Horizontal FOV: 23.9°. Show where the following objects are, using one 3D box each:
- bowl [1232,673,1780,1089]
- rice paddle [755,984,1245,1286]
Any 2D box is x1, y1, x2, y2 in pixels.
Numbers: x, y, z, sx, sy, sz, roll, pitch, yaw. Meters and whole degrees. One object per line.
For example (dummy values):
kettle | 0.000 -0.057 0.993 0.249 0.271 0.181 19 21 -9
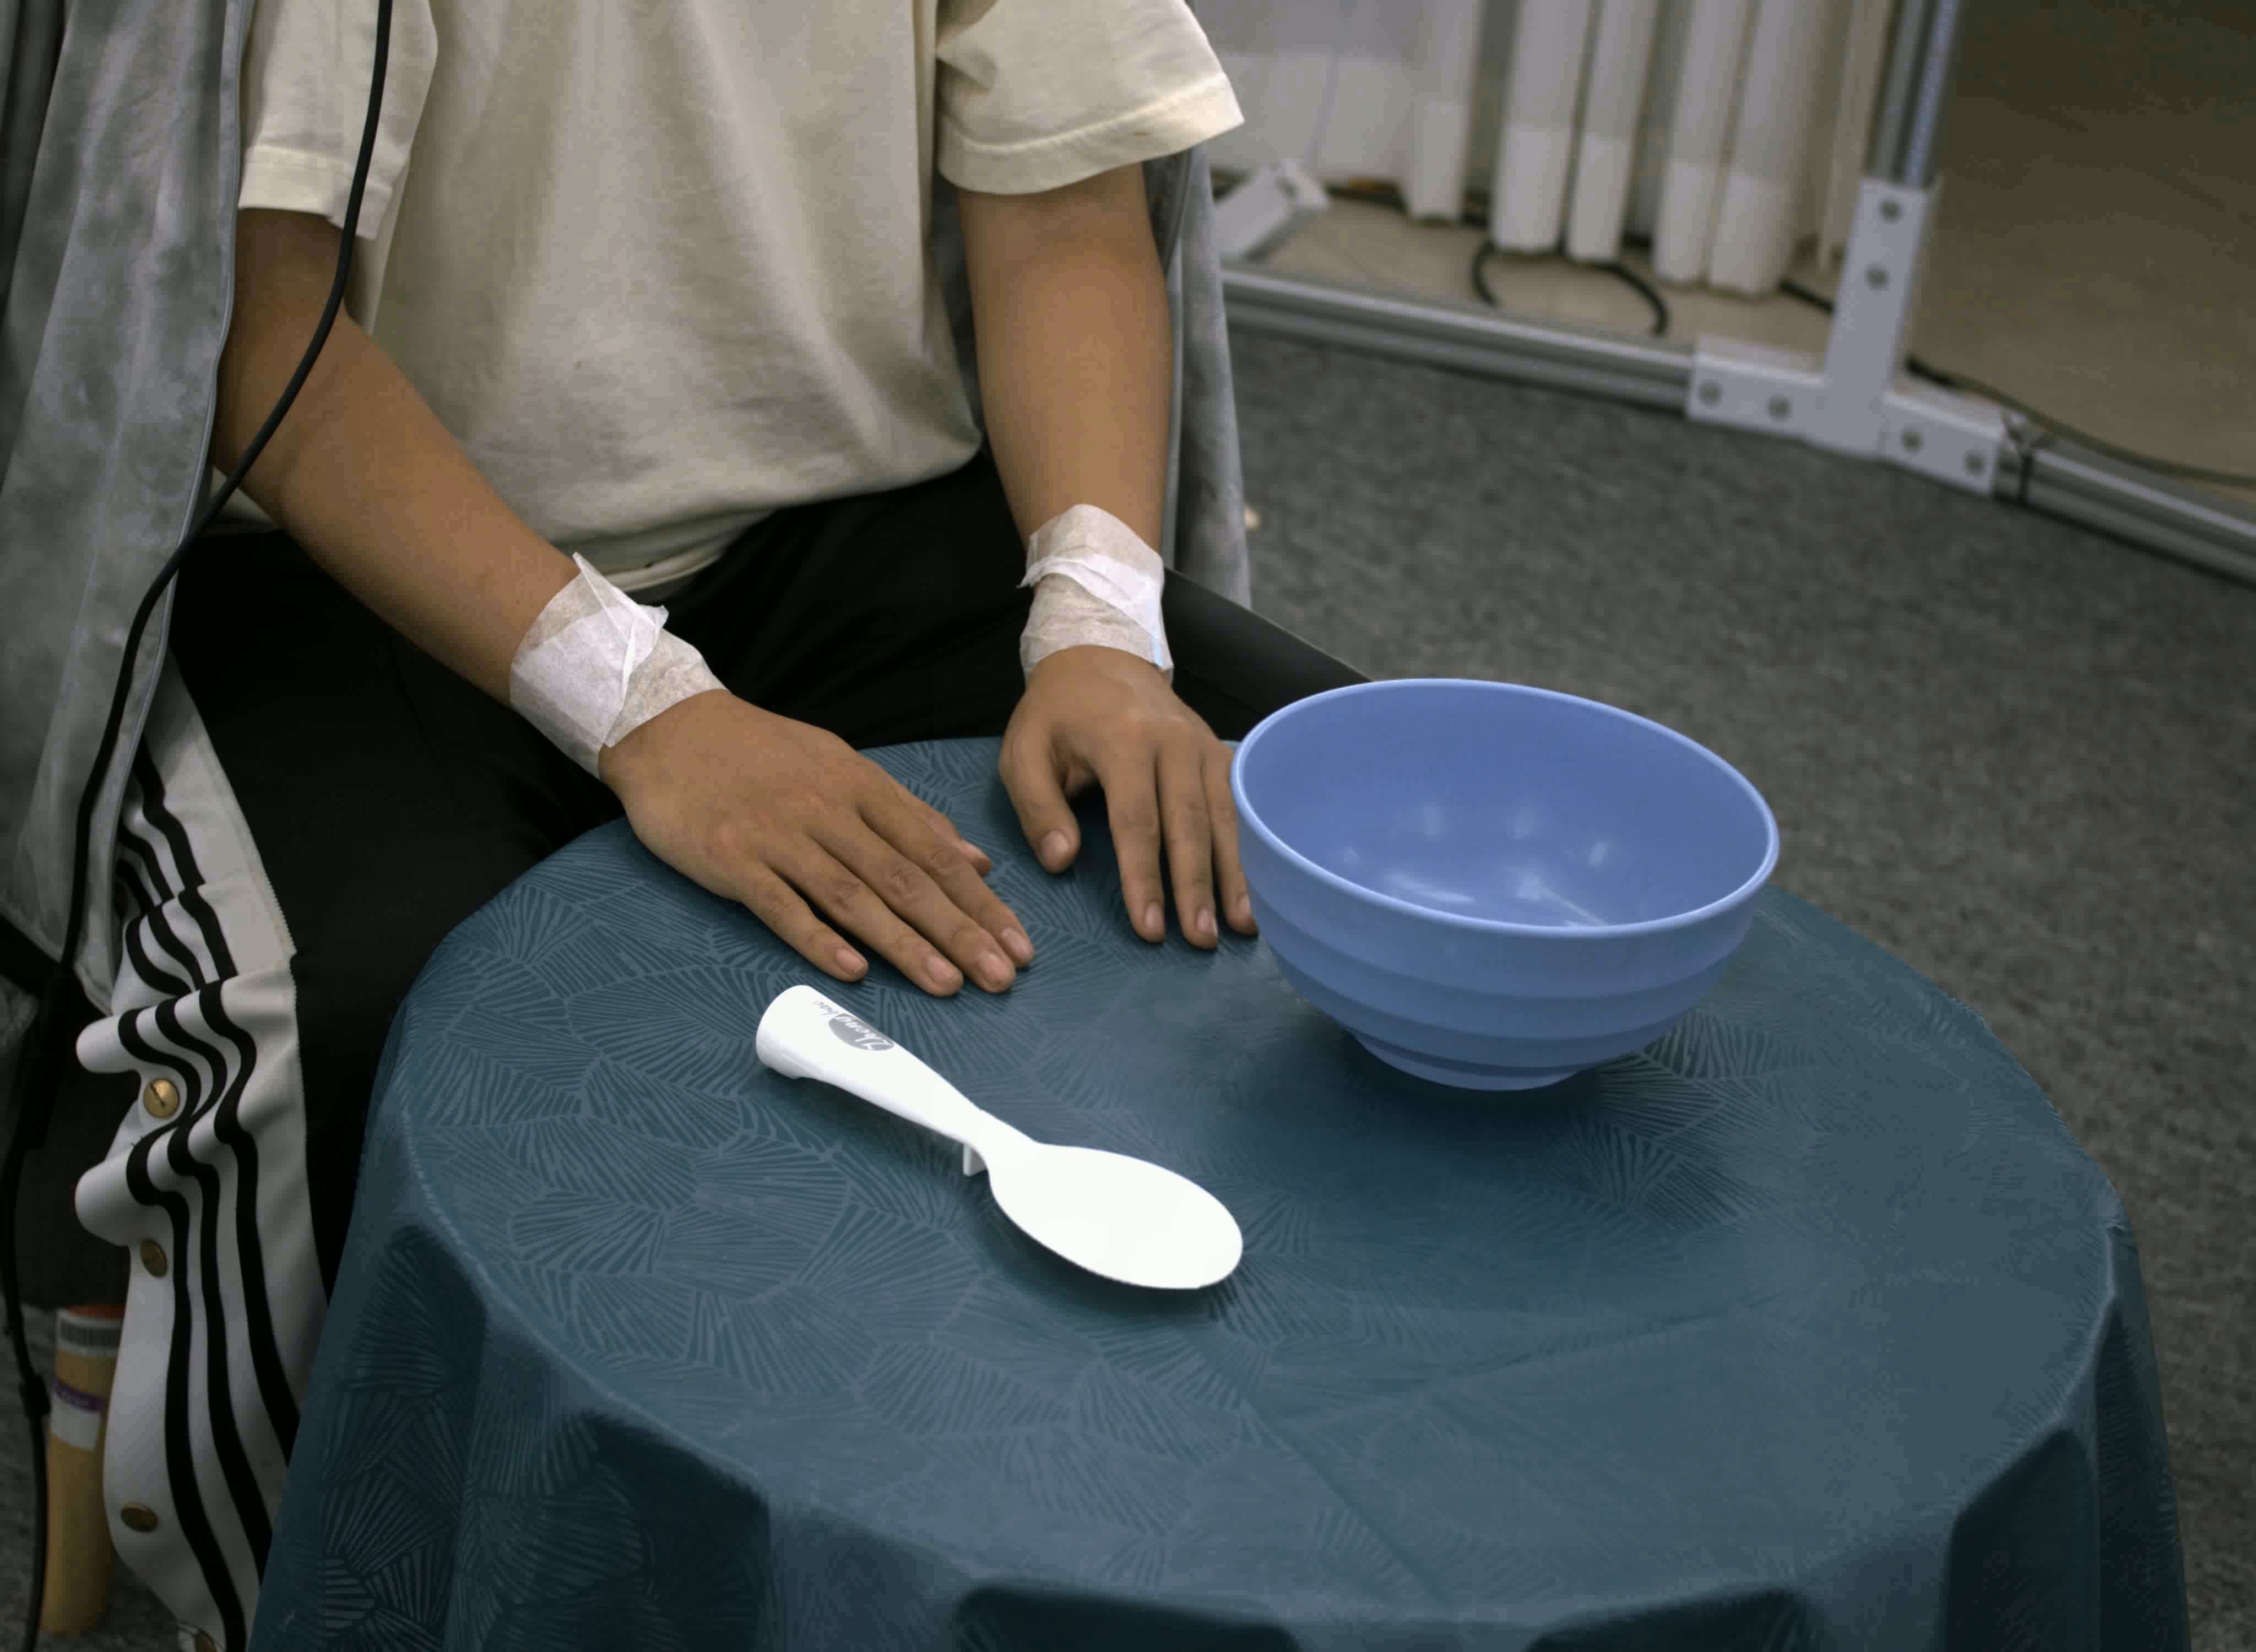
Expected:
bowl | 0.129 0.031 1.910 0.196 0.095 0.198 5 28 -3
rice paddle | -0.044 0.106 1.796 0.207 0.029 0.068 27 35 35
